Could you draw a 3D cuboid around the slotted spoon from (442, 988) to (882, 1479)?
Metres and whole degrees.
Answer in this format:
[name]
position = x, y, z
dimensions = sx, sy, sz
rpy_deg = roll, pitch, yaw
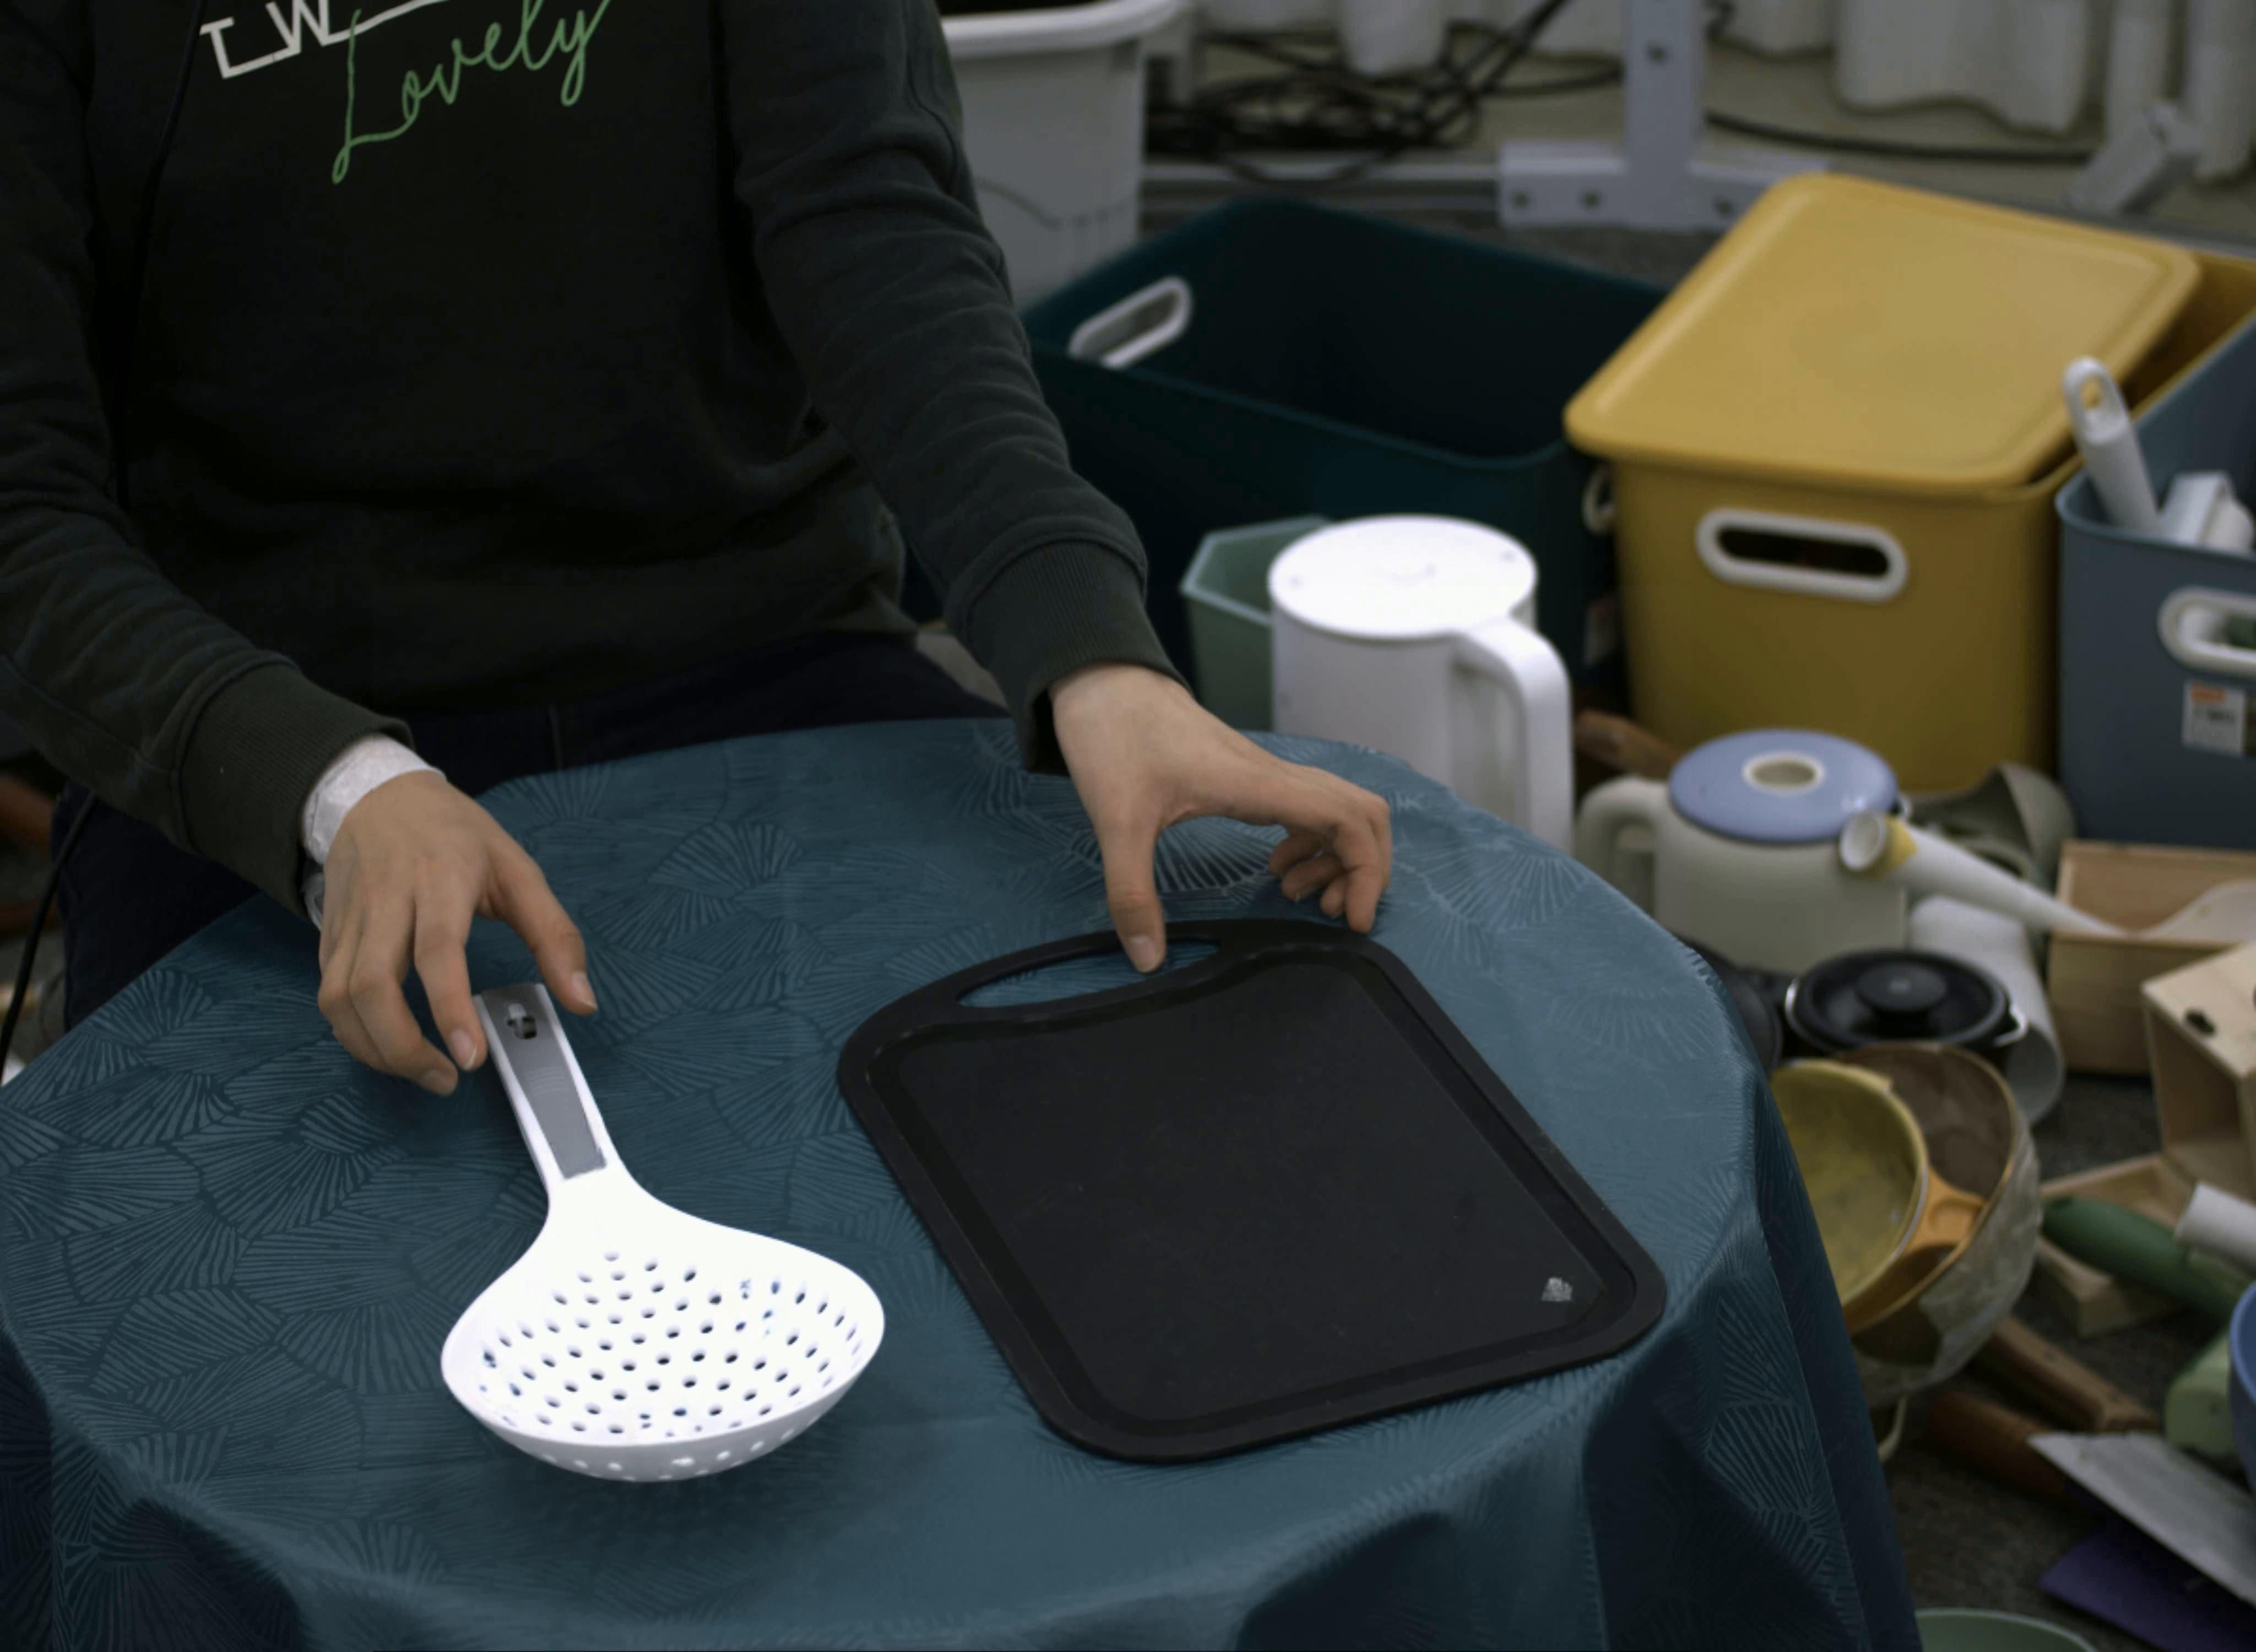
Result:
[slotted spoon]
position = -0.171, 0.126, 1.821
dimensions = 0.136, 0.045, 0.353
rpy_deg = -8, 27, -13

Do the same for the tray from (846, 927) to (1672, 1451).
[tray]
position = 0.033, 0.111, 1.871
dimensions = 0.211, 0.009, 0.328
rpy_deg = -11, 28, -16
